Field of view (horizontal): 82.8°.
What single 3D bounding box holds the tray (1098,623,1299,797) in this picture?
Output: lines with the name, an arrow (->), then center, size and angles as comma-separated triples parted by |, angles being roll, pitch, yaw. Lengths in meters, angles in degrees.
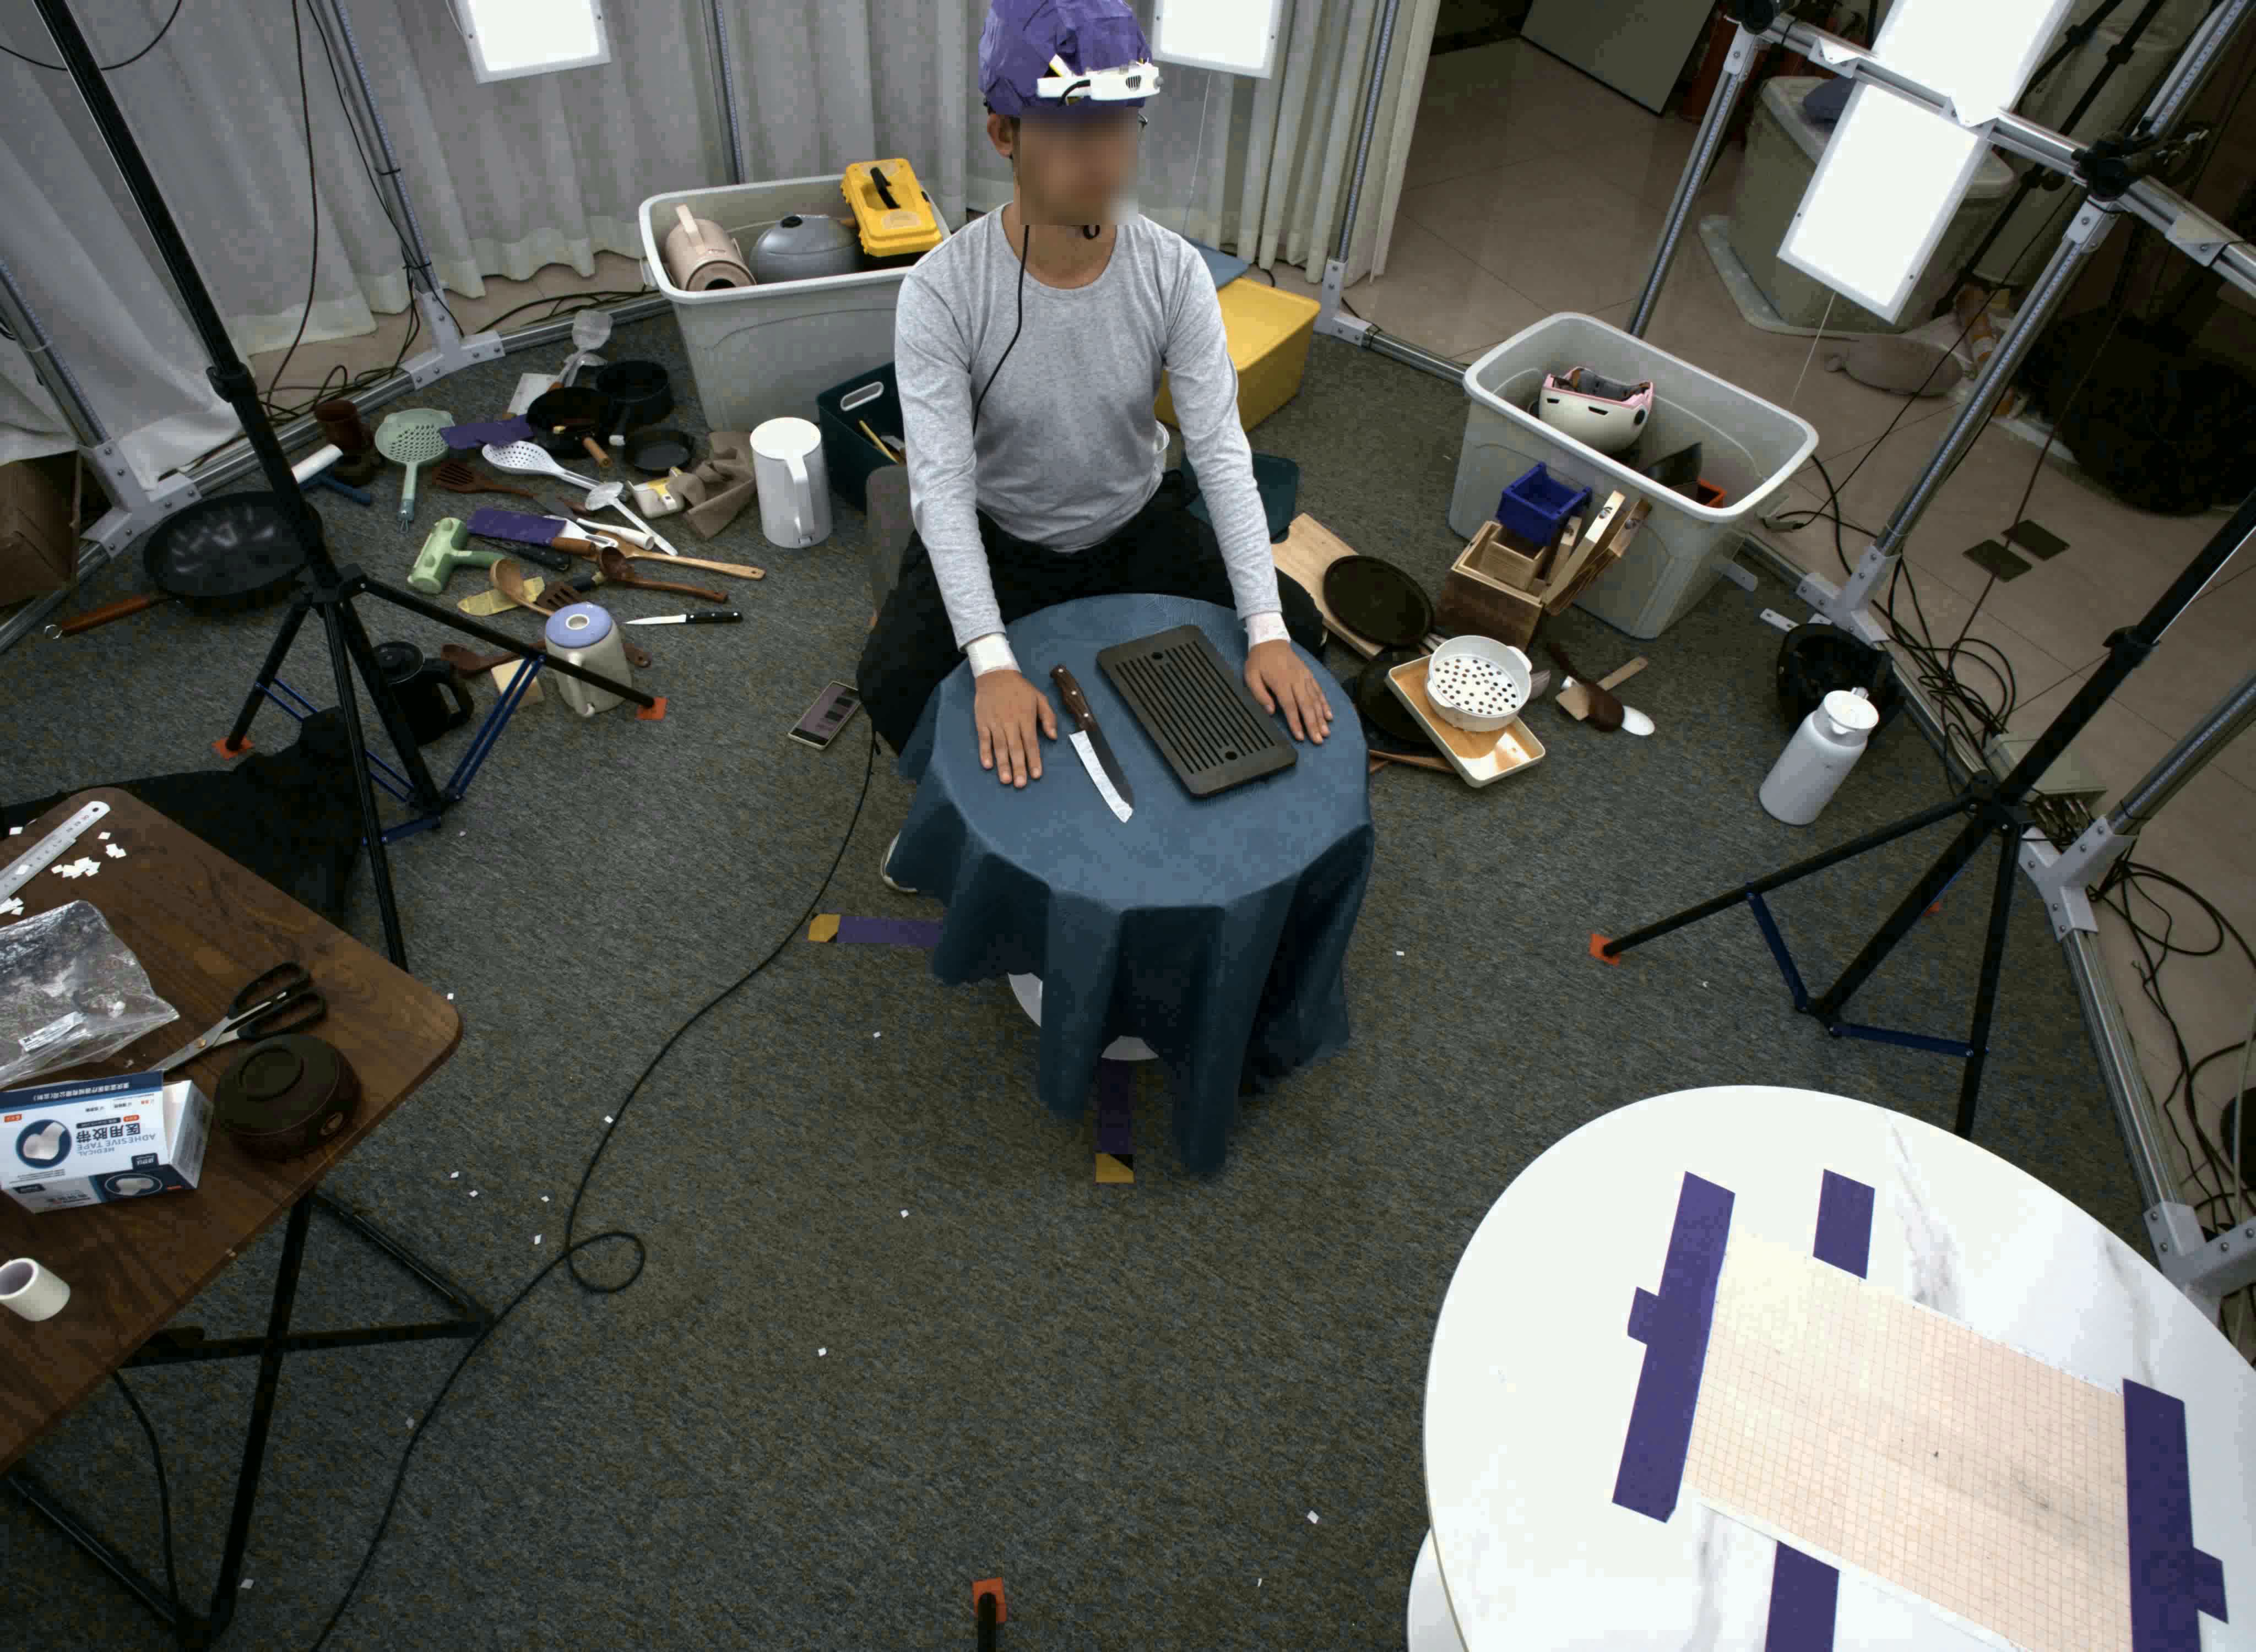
tray -> 0.095, -0.168, 1.809 | 0.170, 0.018, 0.313 | -19, 52, -19

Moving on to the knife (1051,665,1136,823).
knife -> -0.050, -0.115, 1.754 | 0.050, 0.019, 0.296 | -16, 54, -11
